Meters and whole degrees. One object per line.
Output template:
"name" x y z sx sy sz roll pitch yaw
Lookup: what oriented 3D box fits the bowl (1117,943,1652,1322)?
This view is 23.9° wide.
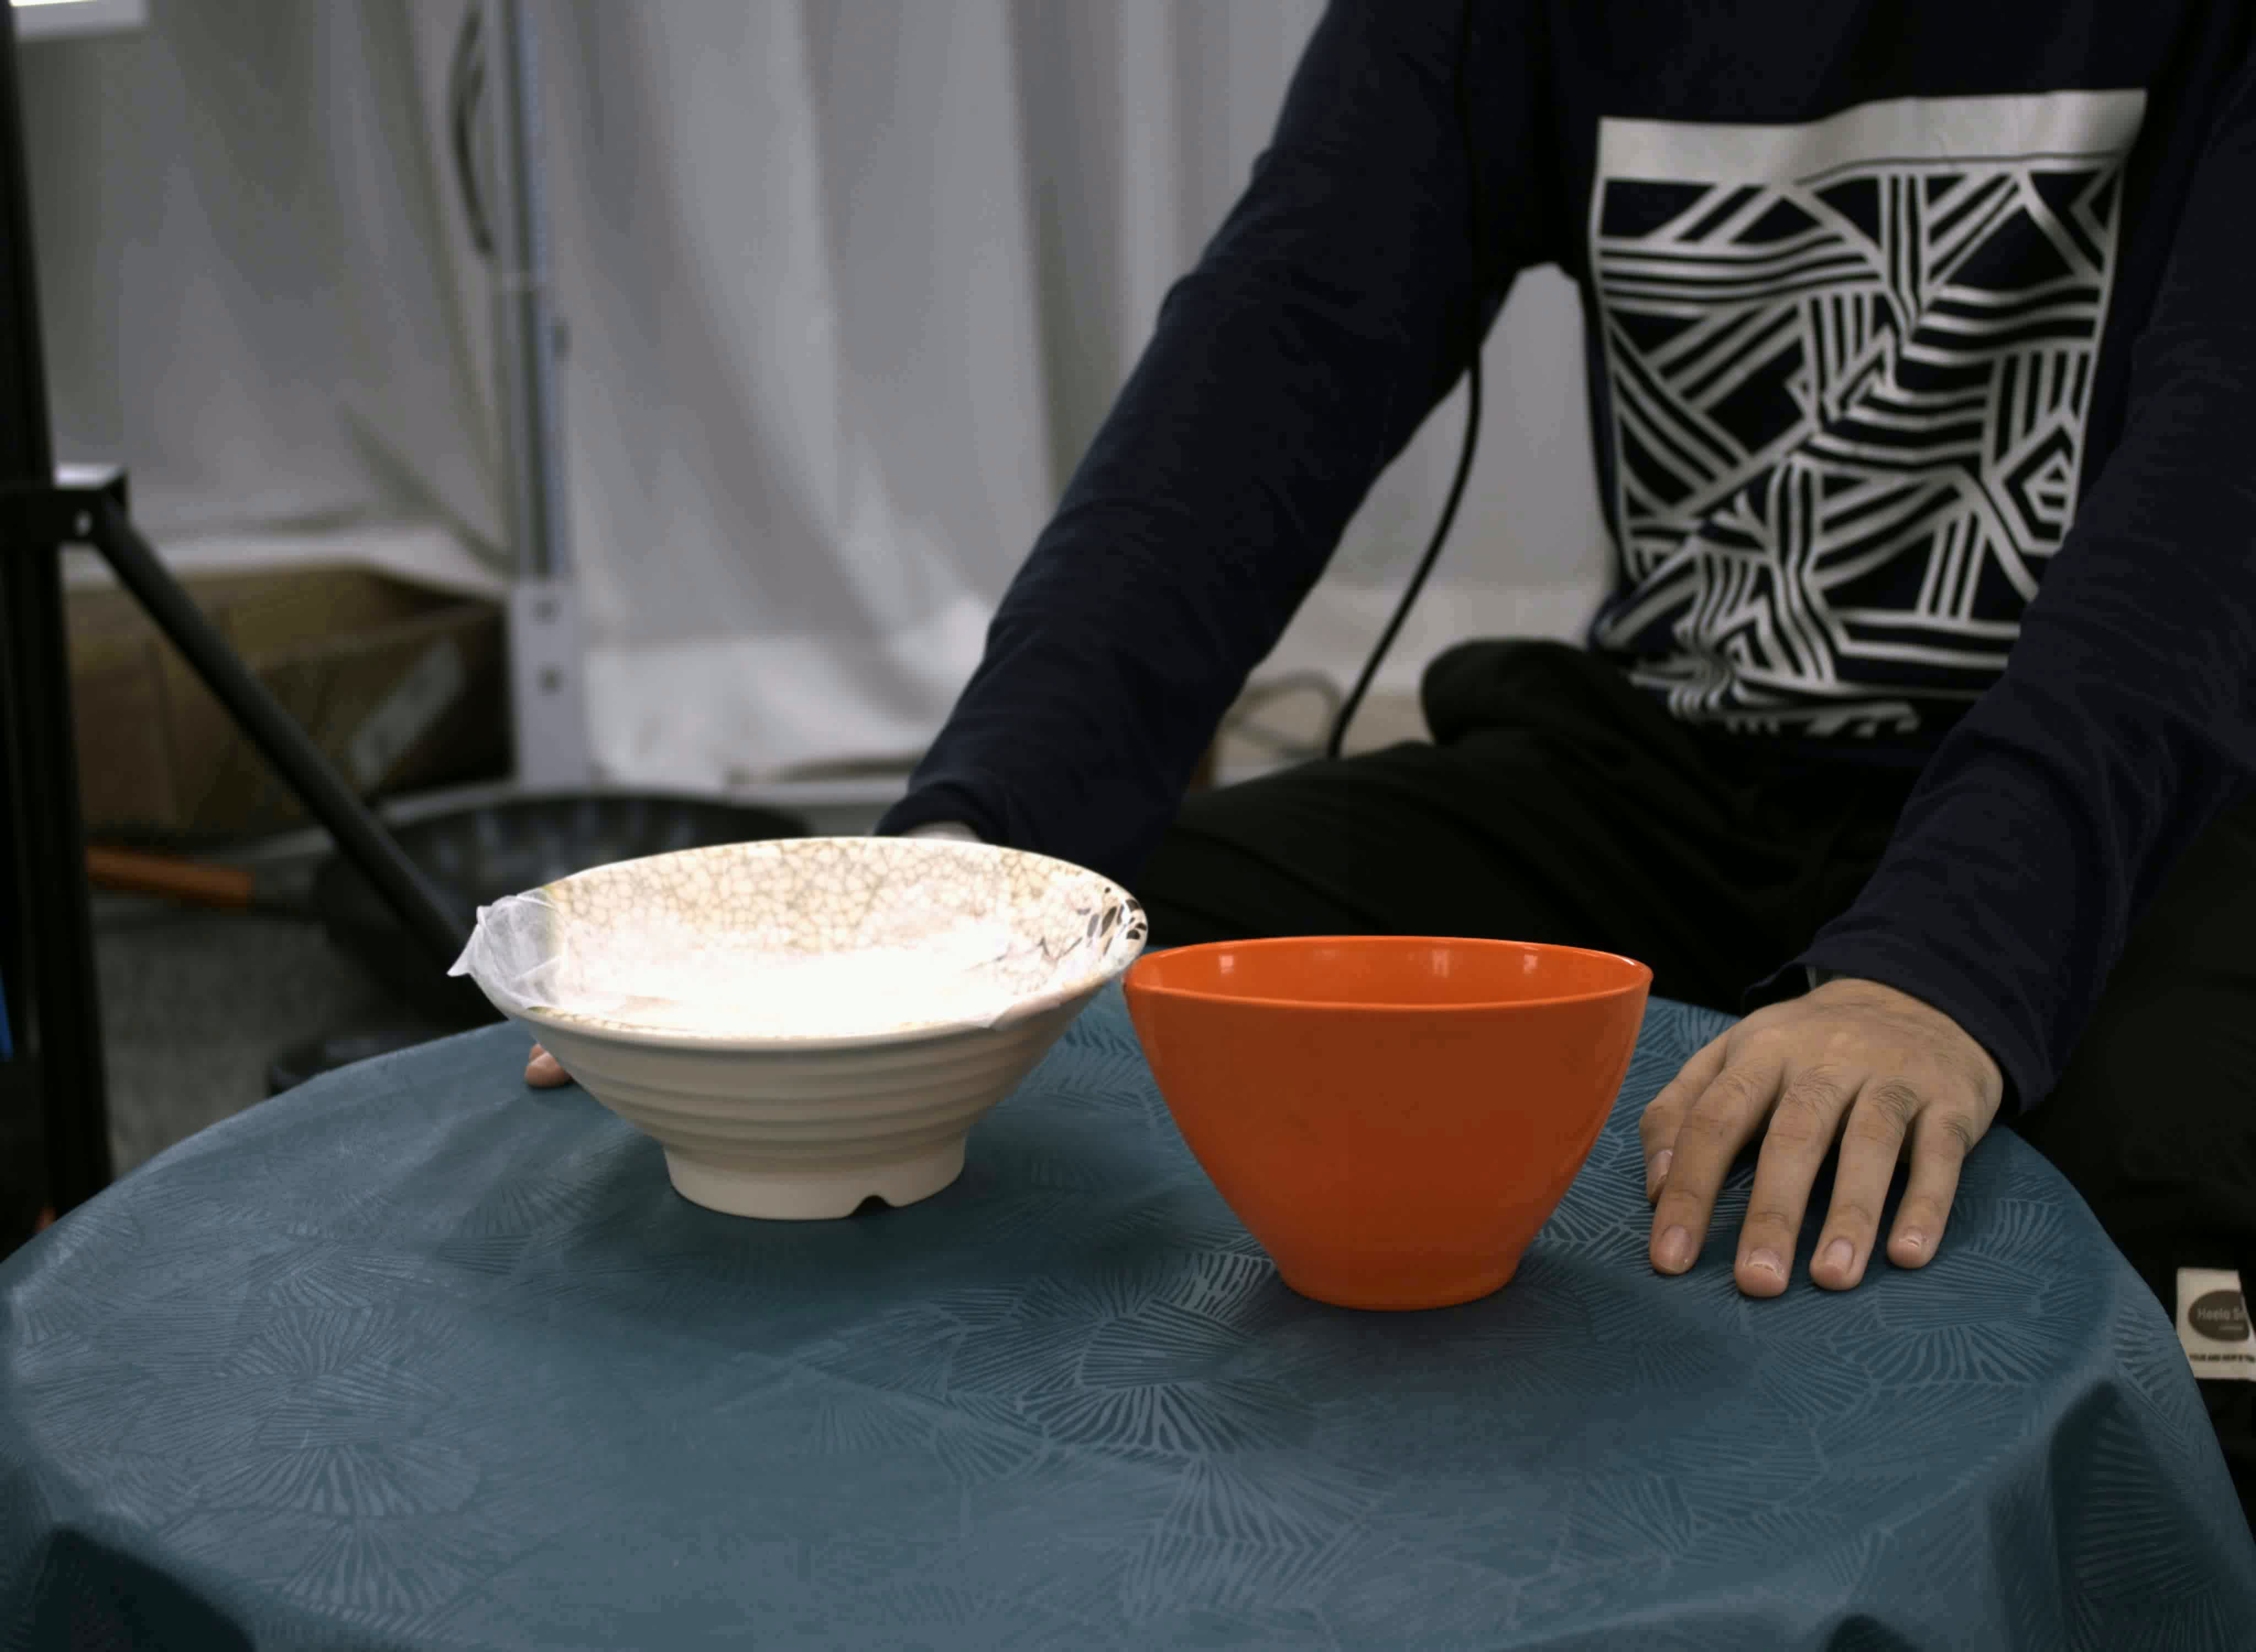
"bowl" 0.071 0.081 1.465 0.147 0.105 0.149 -2 14 -1

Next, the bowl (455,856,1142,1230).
"bowl" -0.098 0.070 1.583 0.203 0.078 0.205 1 13 -2
